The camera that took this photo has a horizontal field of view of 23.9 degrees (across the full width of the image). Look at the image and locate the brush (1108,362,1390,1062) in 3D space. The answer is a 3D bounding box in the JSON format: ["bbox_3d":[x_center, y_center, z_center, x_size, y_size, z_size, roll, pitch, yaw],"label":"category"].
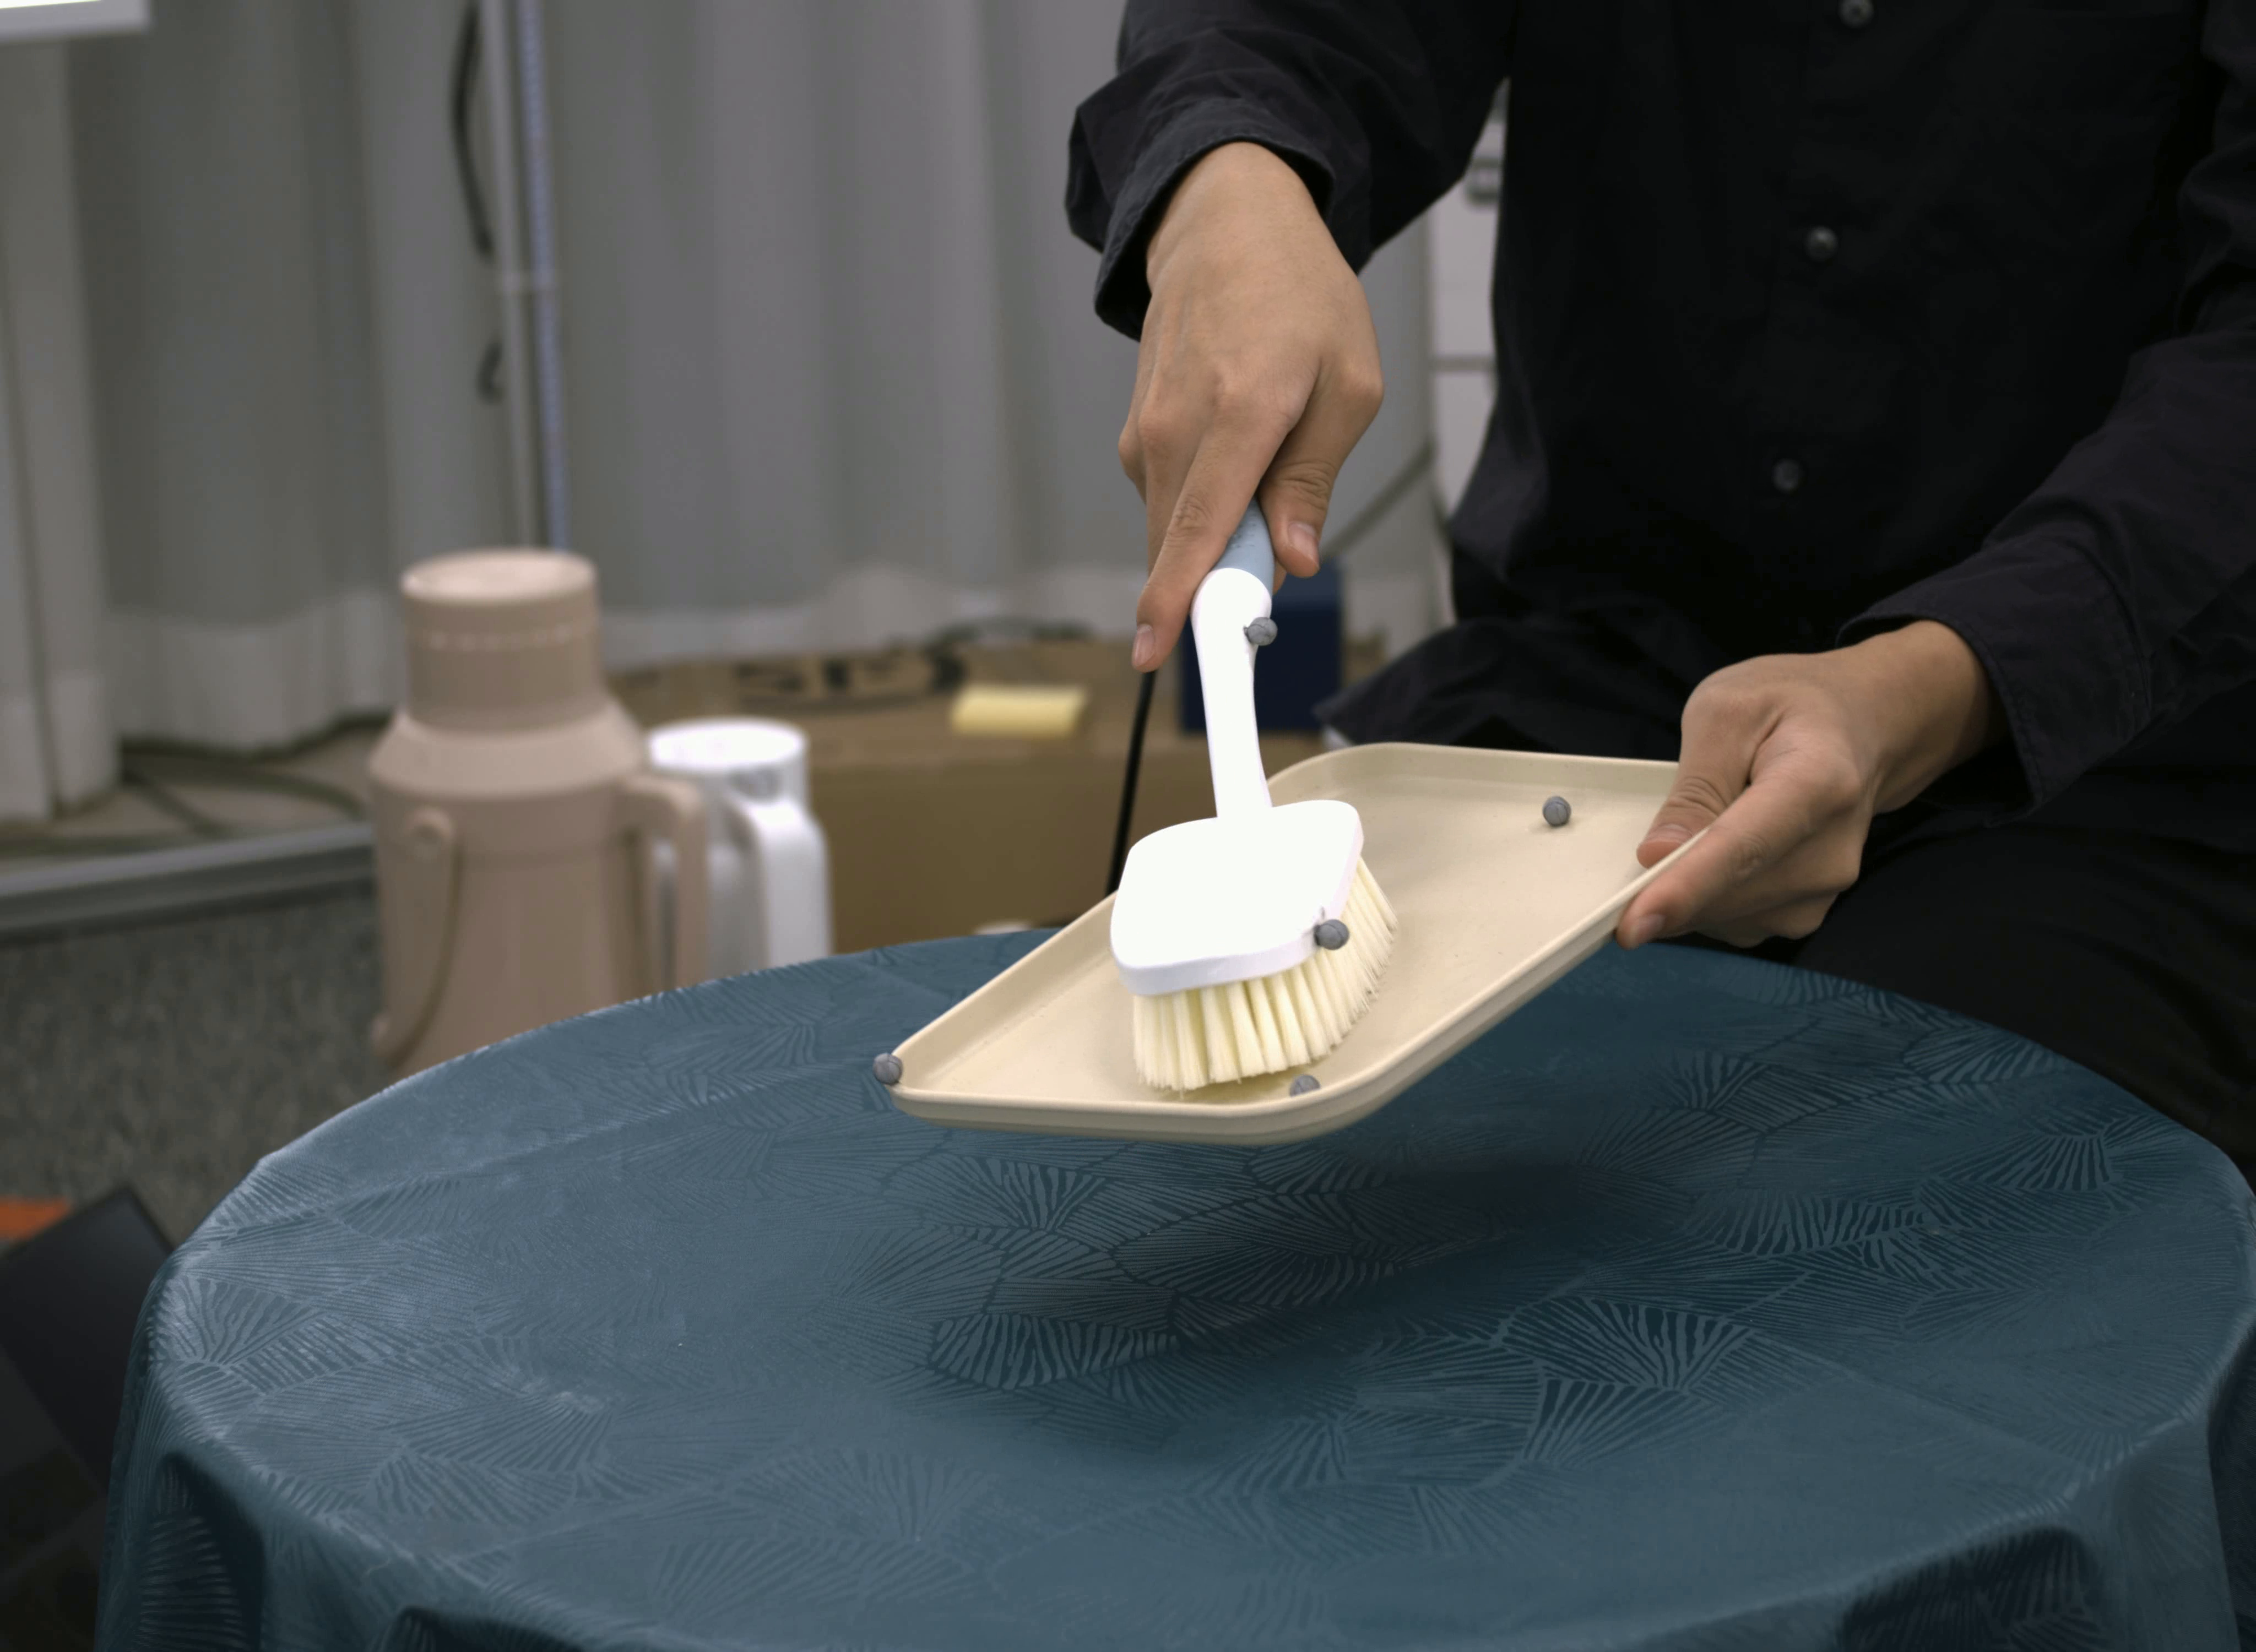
[{"bbox_3d":[0.042,-0.024,1.559,0.082,0.085,0.327,21,32,-9],"label":"brush"}]

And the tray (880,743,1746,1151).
[{"bbox_3d":[0.056,0.032,1.500,0.175,0.017,0.235,3,26,41],"label":"tray"}]
